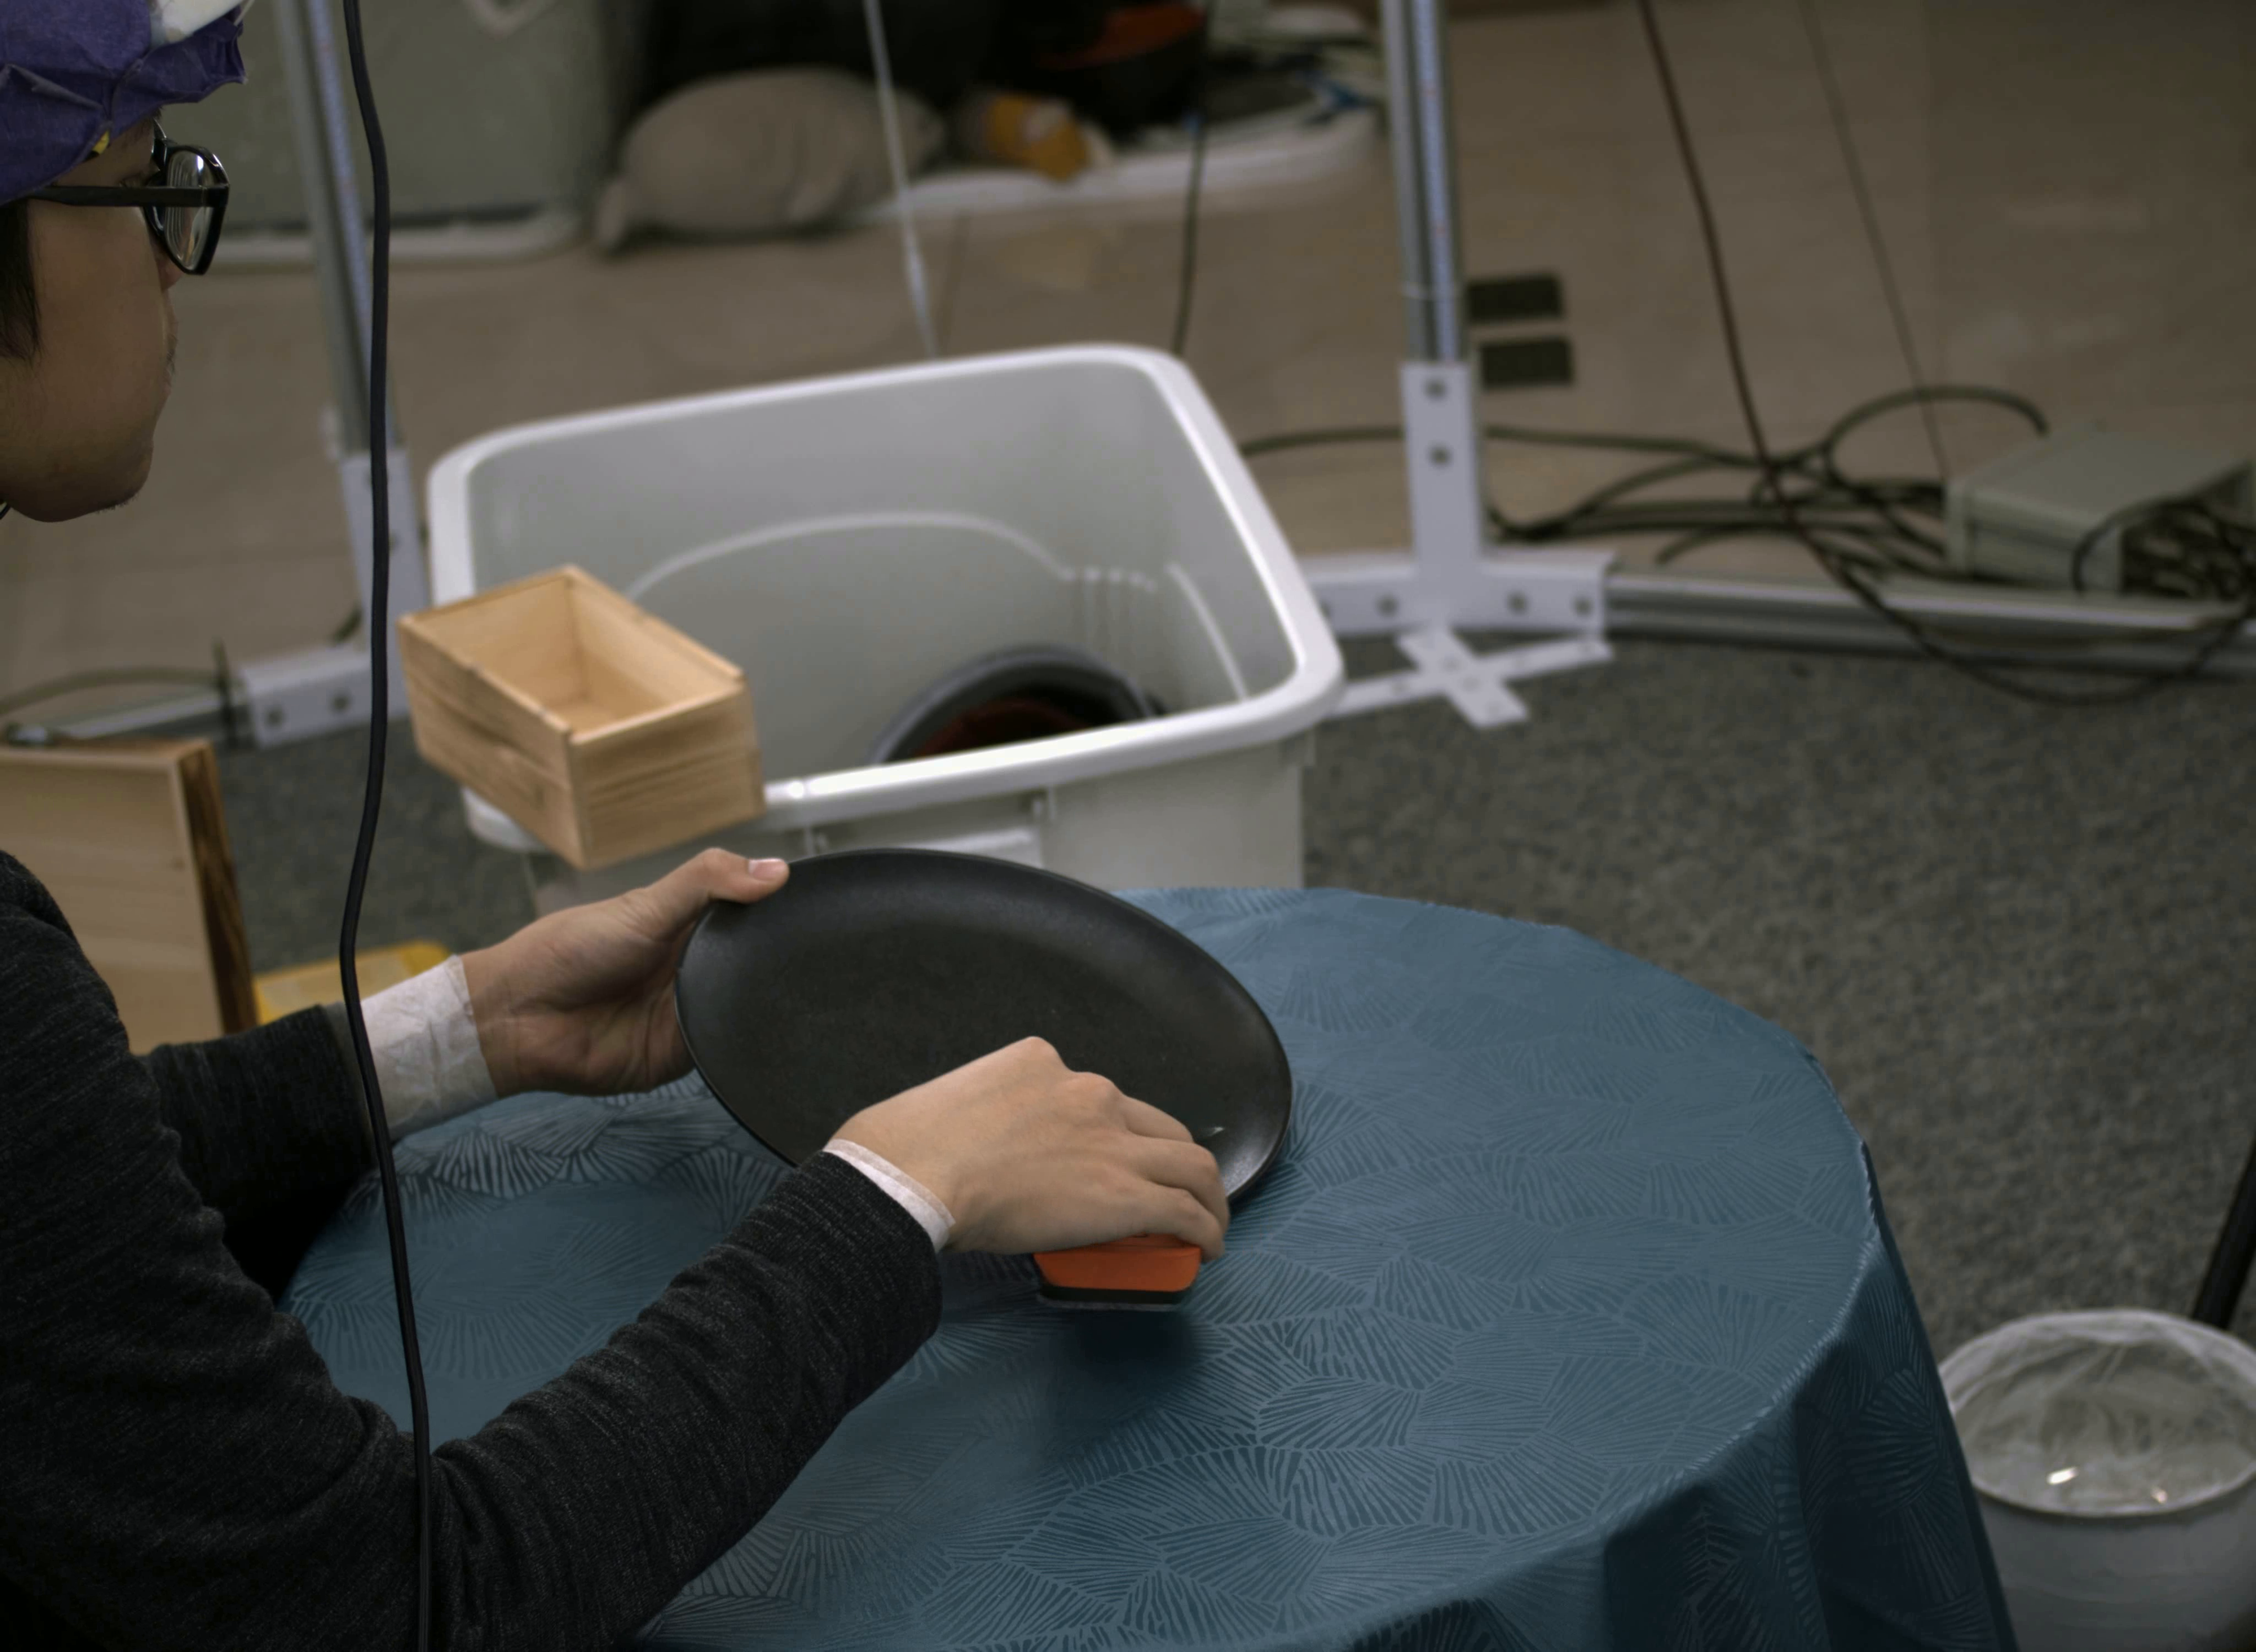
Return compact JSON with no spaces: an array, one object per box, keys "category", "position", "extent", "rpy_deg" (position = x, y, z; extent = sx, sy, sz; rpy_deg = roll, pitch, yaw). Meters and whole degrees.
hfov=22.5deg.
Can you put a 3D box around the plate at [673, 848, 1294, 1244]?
[{"category":"plate","position":[-0.056,0.088,2.169],"extent":[0.244,0.024,0.240],"rpy_deg":[11,34,-8]}]

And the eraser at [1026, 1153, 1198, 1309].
[{"category":"eraser","position":[-0.006,0.146,2.051],"extent":[0.059,0.023,0.107],"rpy_deg":[2,15,-4]}]
